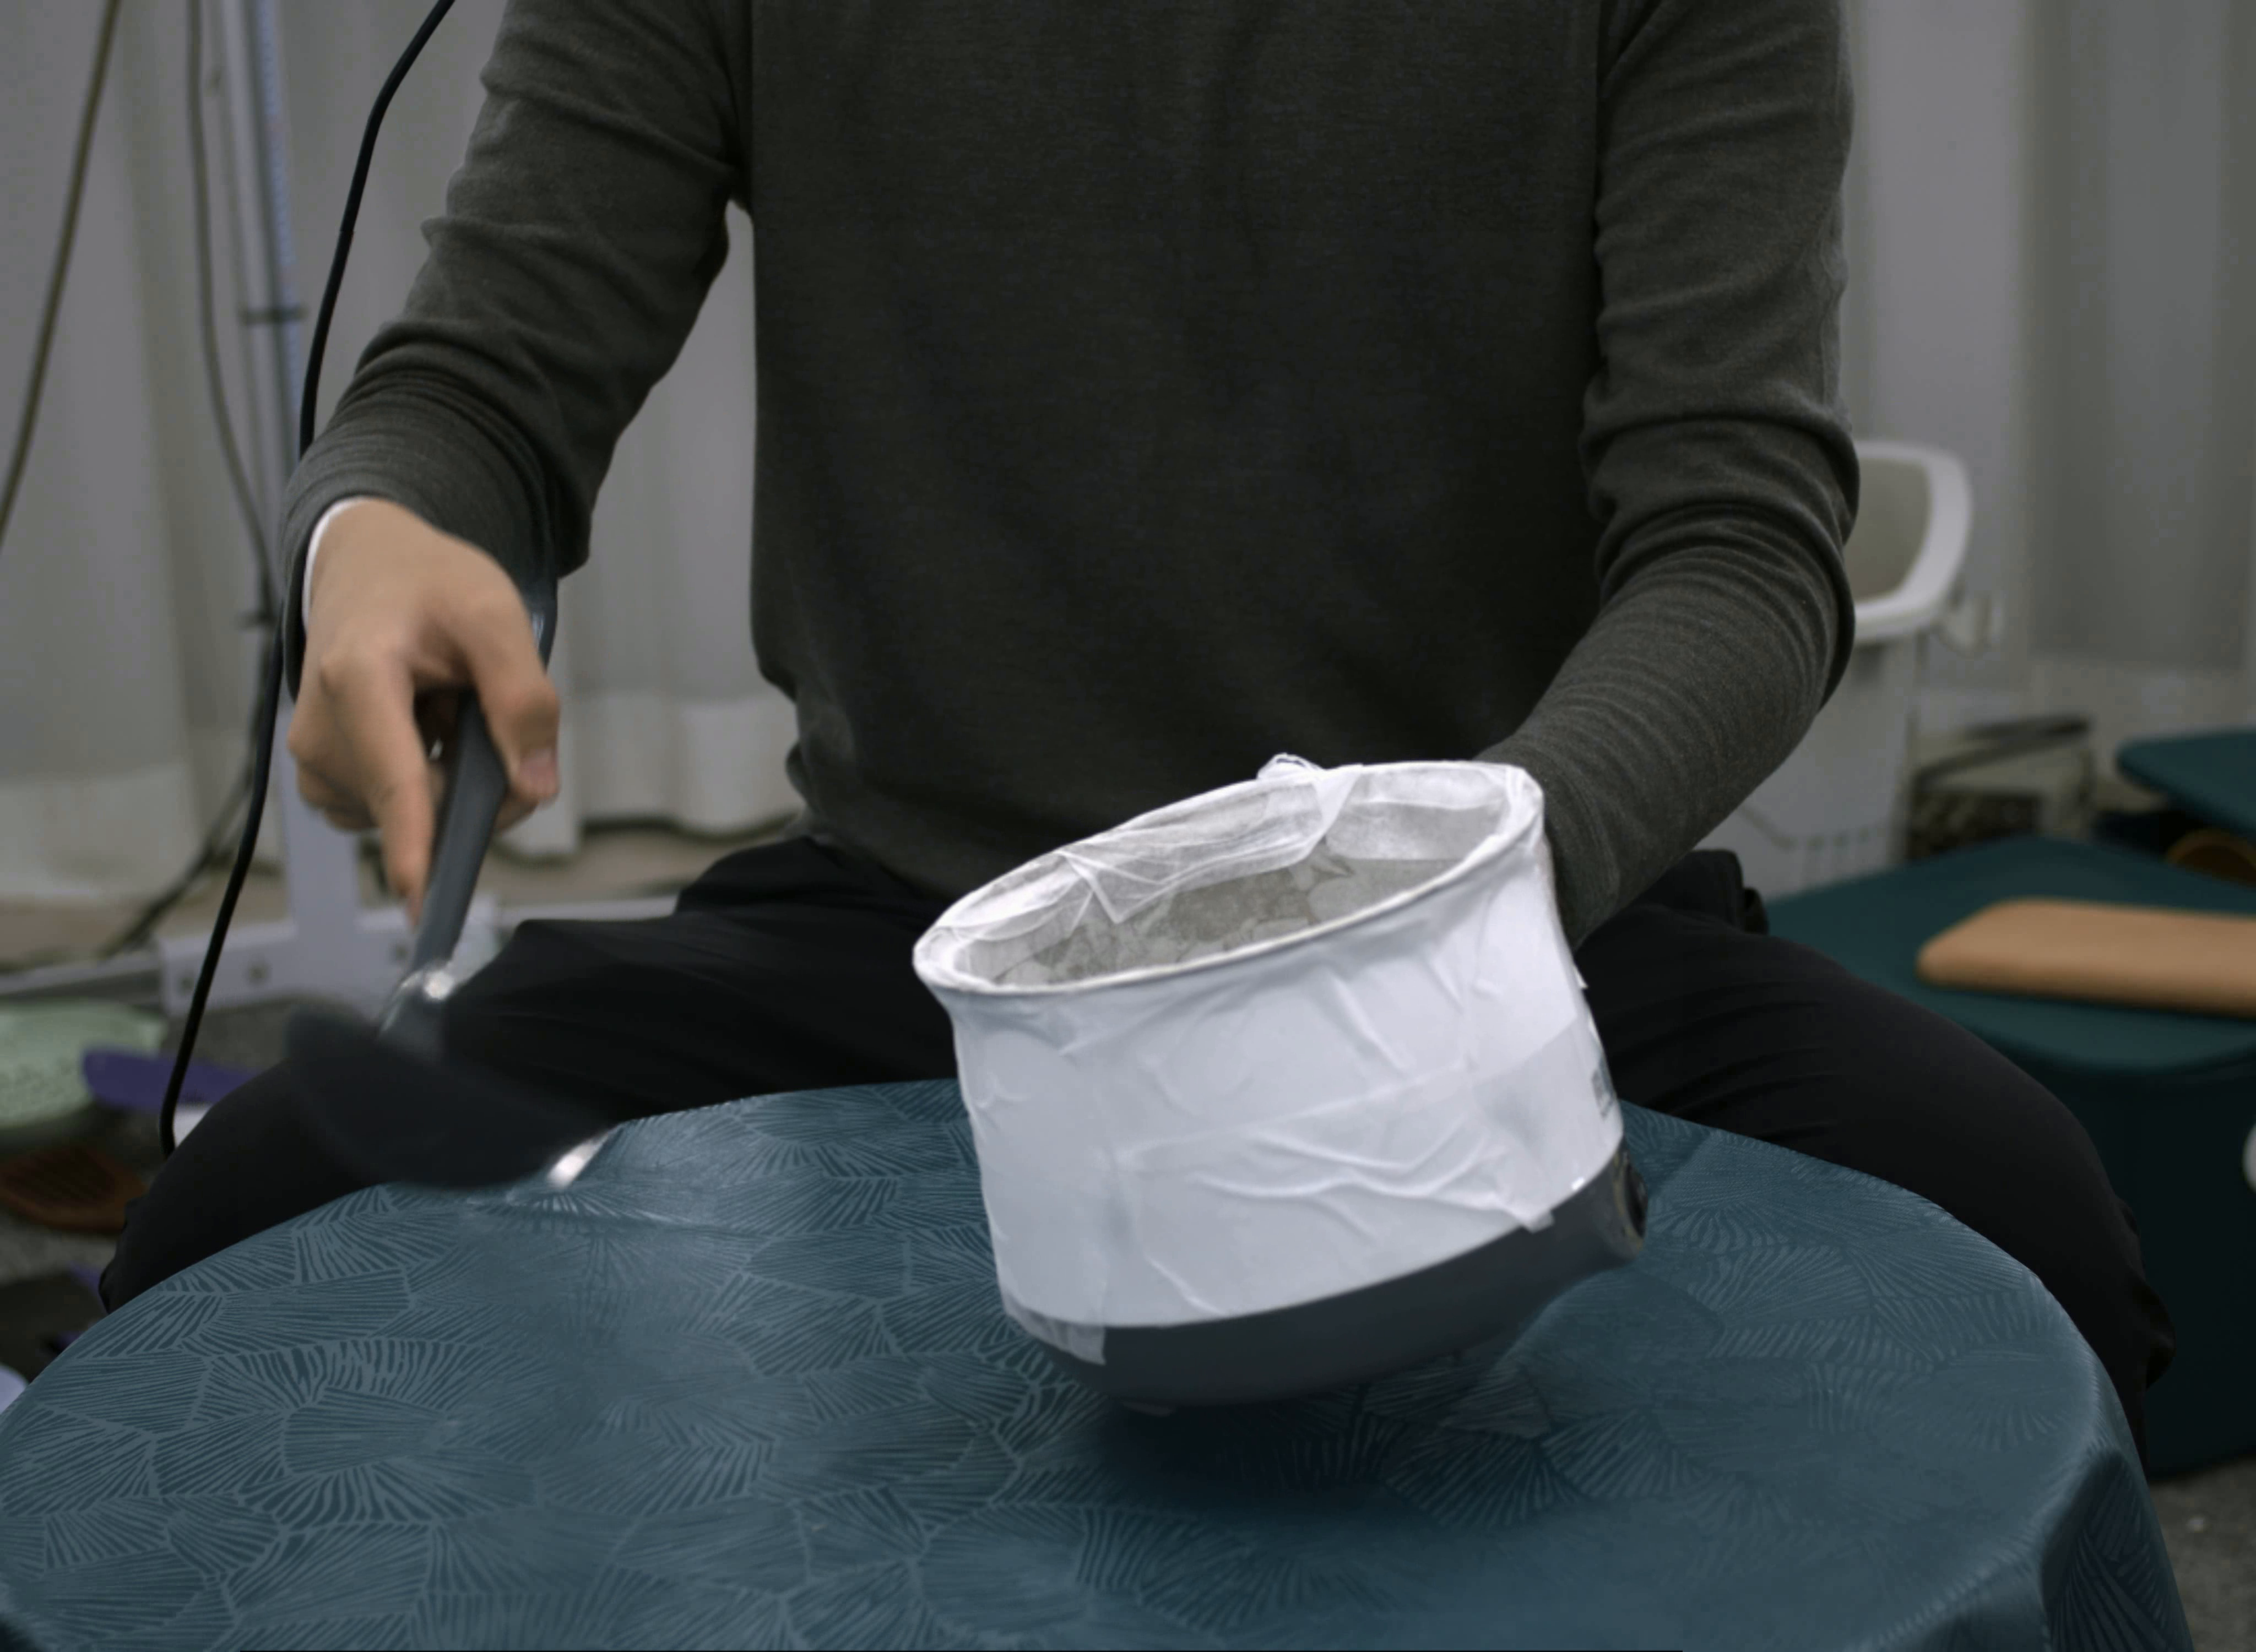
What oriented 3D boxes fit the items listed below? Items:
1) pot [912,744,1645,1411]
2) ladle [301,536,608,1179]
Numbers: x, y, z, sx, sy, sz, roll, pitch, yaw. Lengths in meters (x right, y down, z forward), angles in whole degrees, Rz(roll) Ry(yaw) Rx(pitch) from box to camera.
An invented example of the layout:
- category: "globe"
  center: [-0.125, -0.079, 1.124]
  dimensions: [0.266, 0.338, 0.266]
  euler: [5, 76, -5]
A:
- category: "pot"
  center: [0.047, 0.062, 1.524]
  dimensions: [0.178, 0.136, 0.235]
  euler: [-12, 14, 13]
- category: "ladle"
  center: [-0.179, -0.010, 1.555]
  dimensions: [0.085, 0.063, 0.318]
  euler: [28, 32, -17]
